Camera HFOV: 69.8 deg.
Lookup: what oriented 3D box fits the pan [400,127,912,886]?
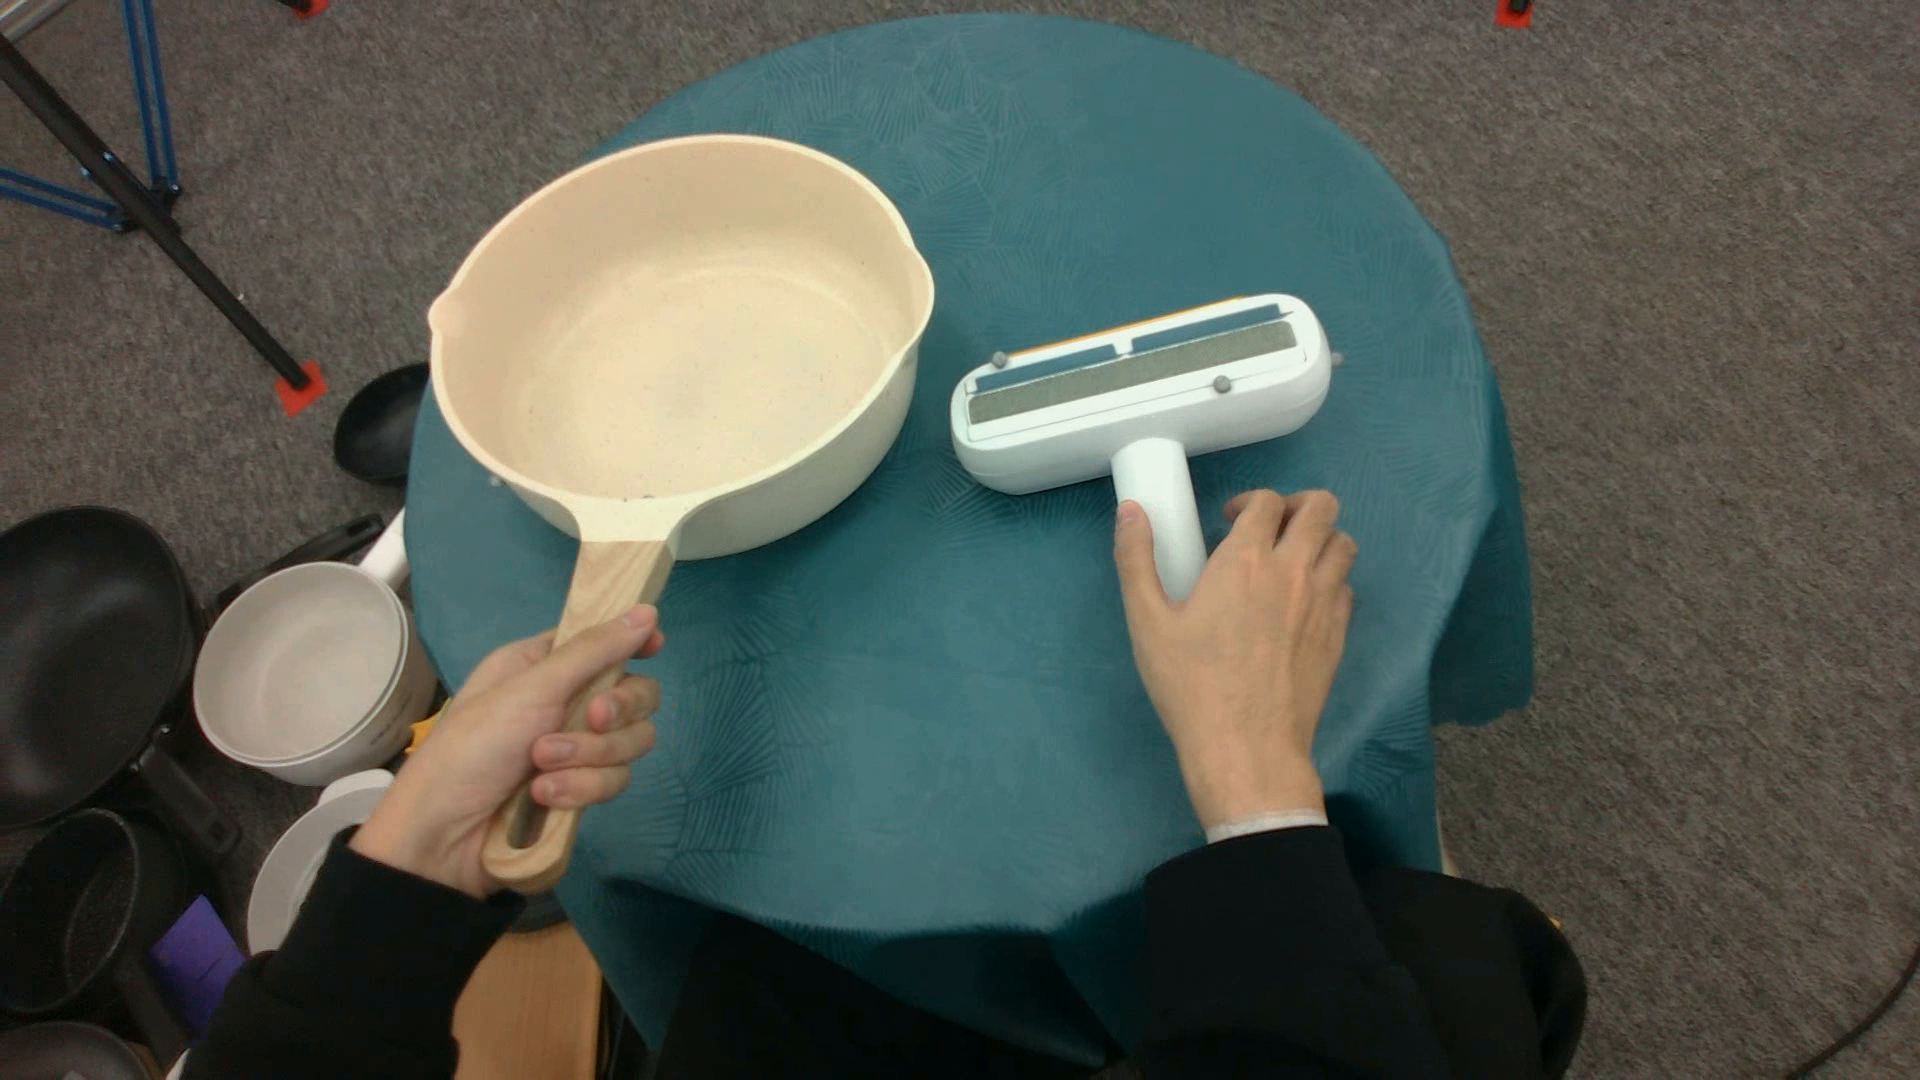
[{"bbox_3d":[-0.158,-0.031,0.673,0.263,0.101,0.437,1,56,4],"label":"pan"}]

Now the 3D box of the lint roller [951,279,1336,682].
[{"bbox_3d":[0.094,-0.028,0.679,0.192,0.074,0.193,-8,63,9],"label":"lint roller"}]
